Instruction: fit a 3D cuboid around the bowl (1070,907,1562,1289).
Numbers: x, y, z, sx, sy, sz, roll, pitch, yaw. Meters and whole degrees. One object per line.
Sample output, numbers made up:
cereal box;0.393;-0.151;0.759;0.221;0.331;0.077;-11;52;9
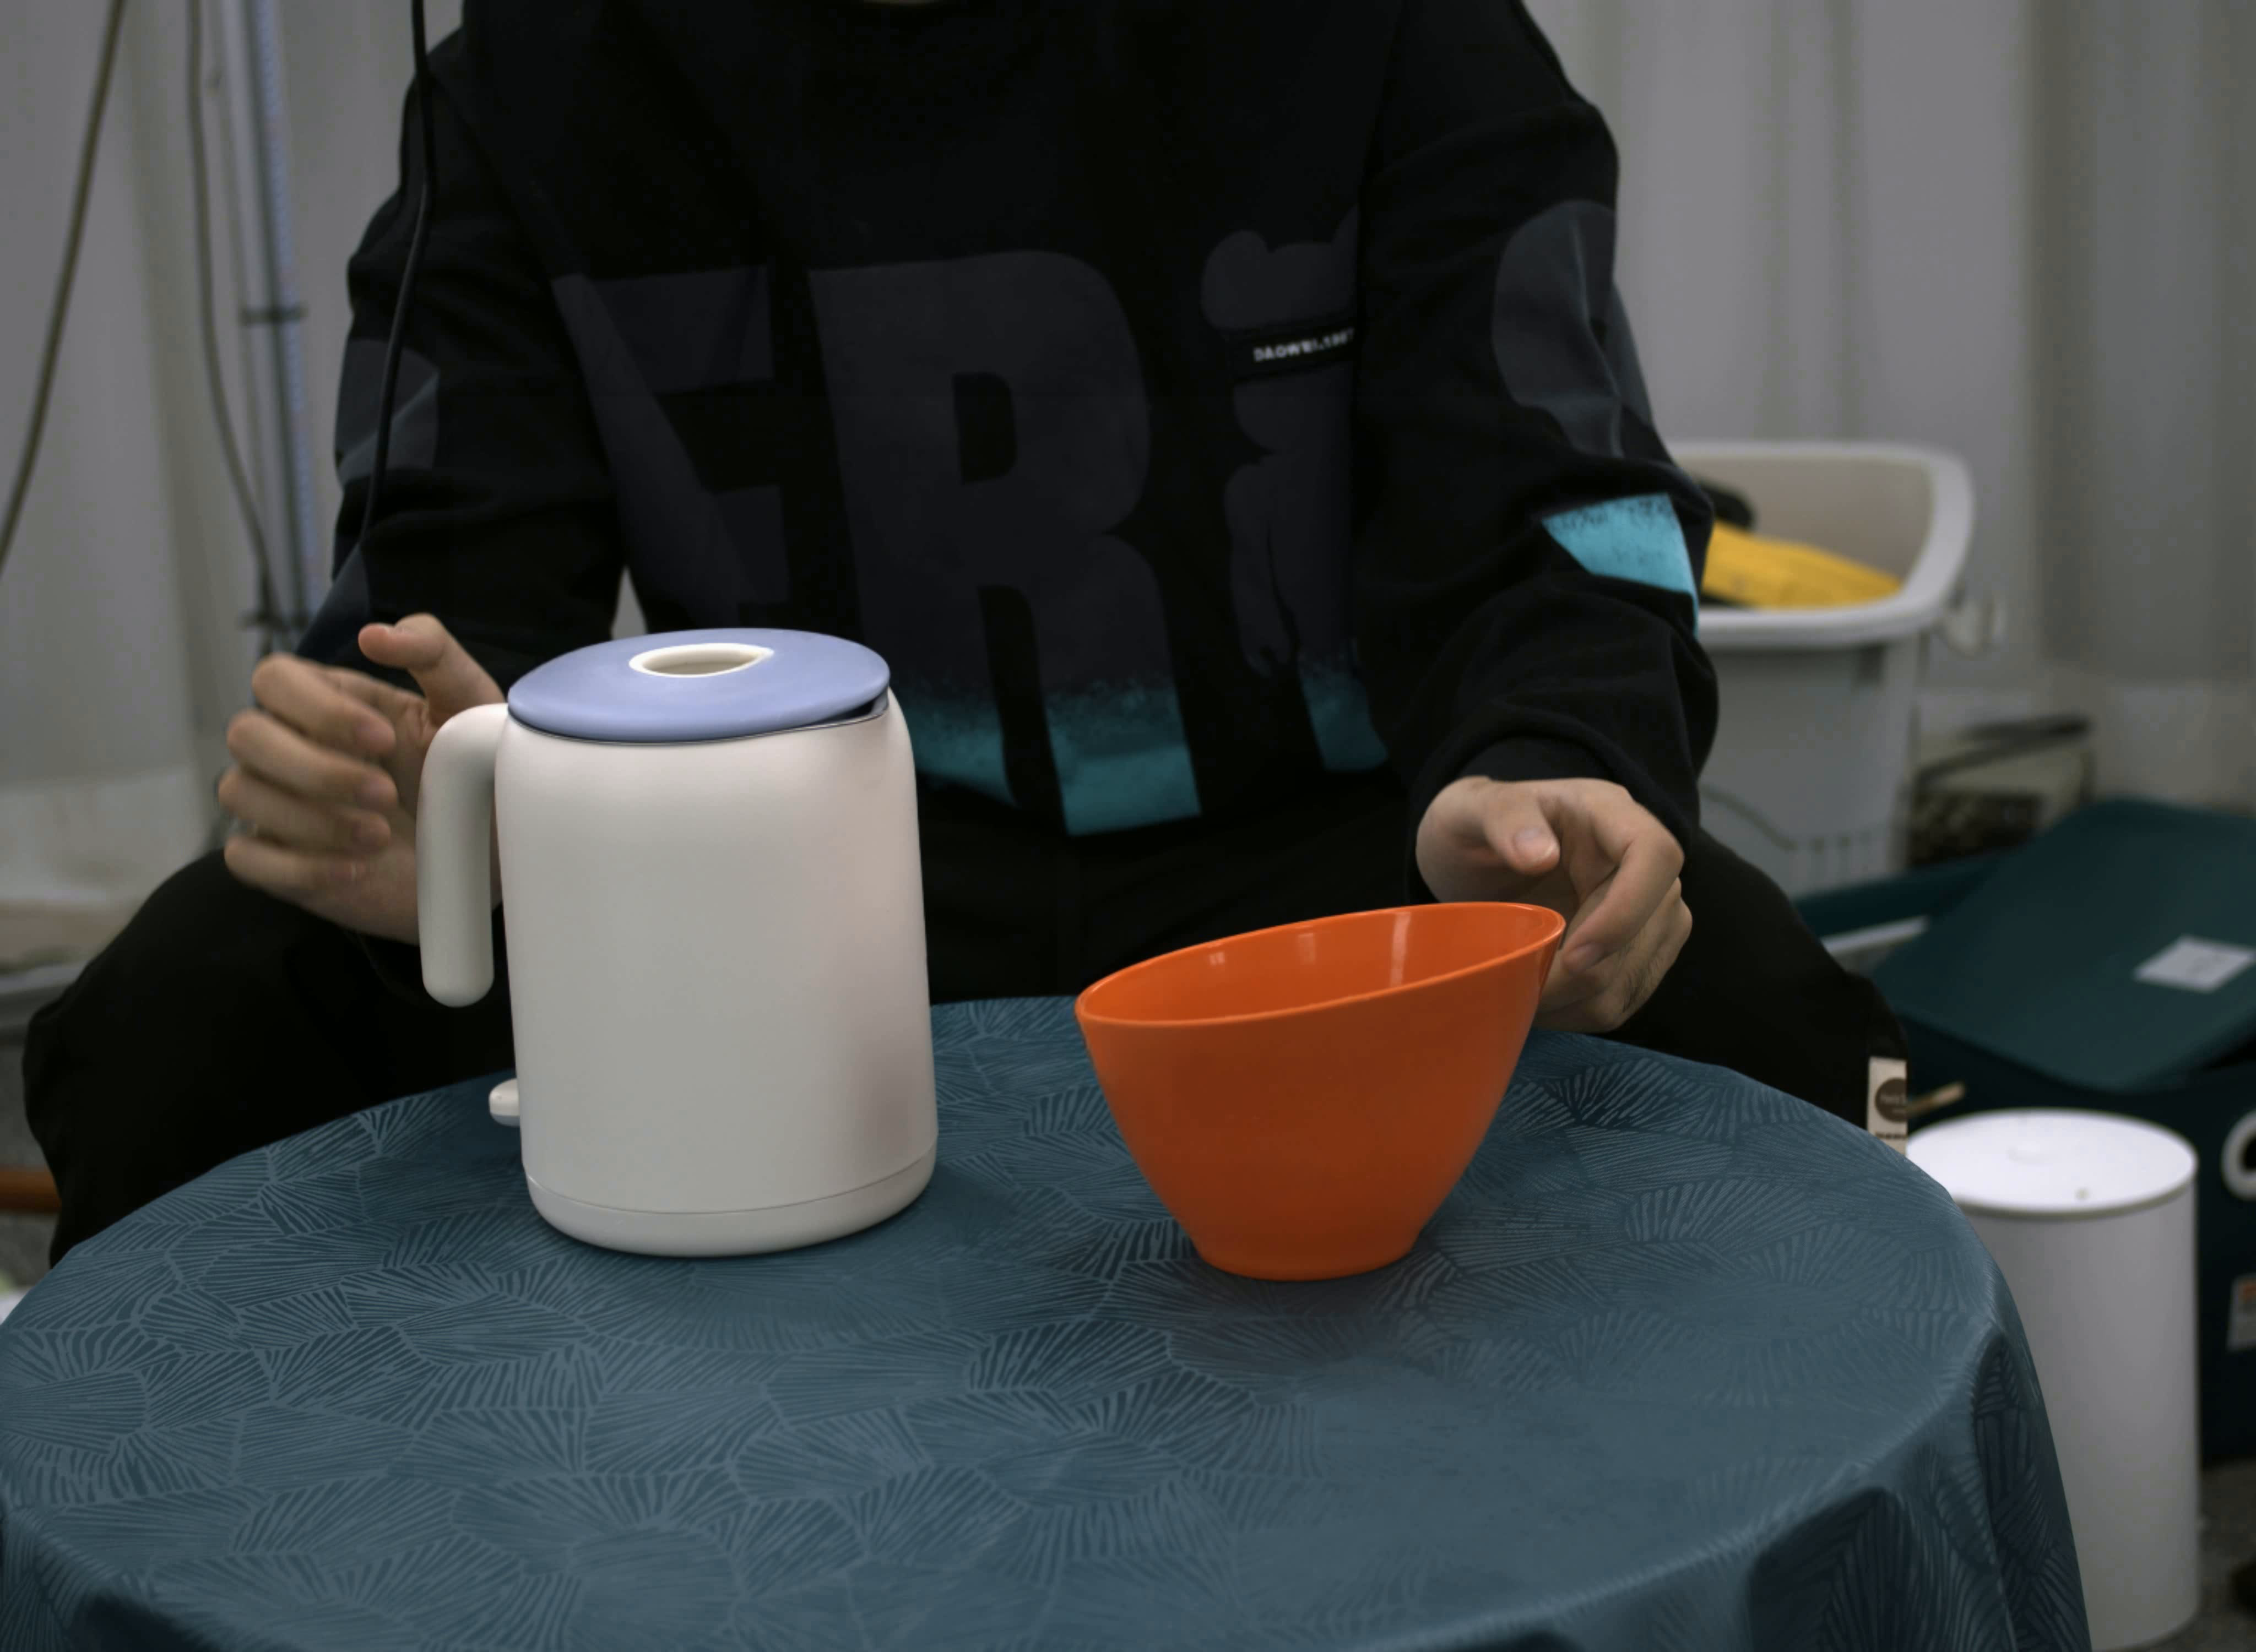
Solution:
bowl;0.057;0.081;1.635;0.147;0.104;0.149;-3;15;0

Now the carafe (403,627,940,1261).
carafe;-0.149;0.034;1.719;0.191;0.182;0.132;3;14;32
